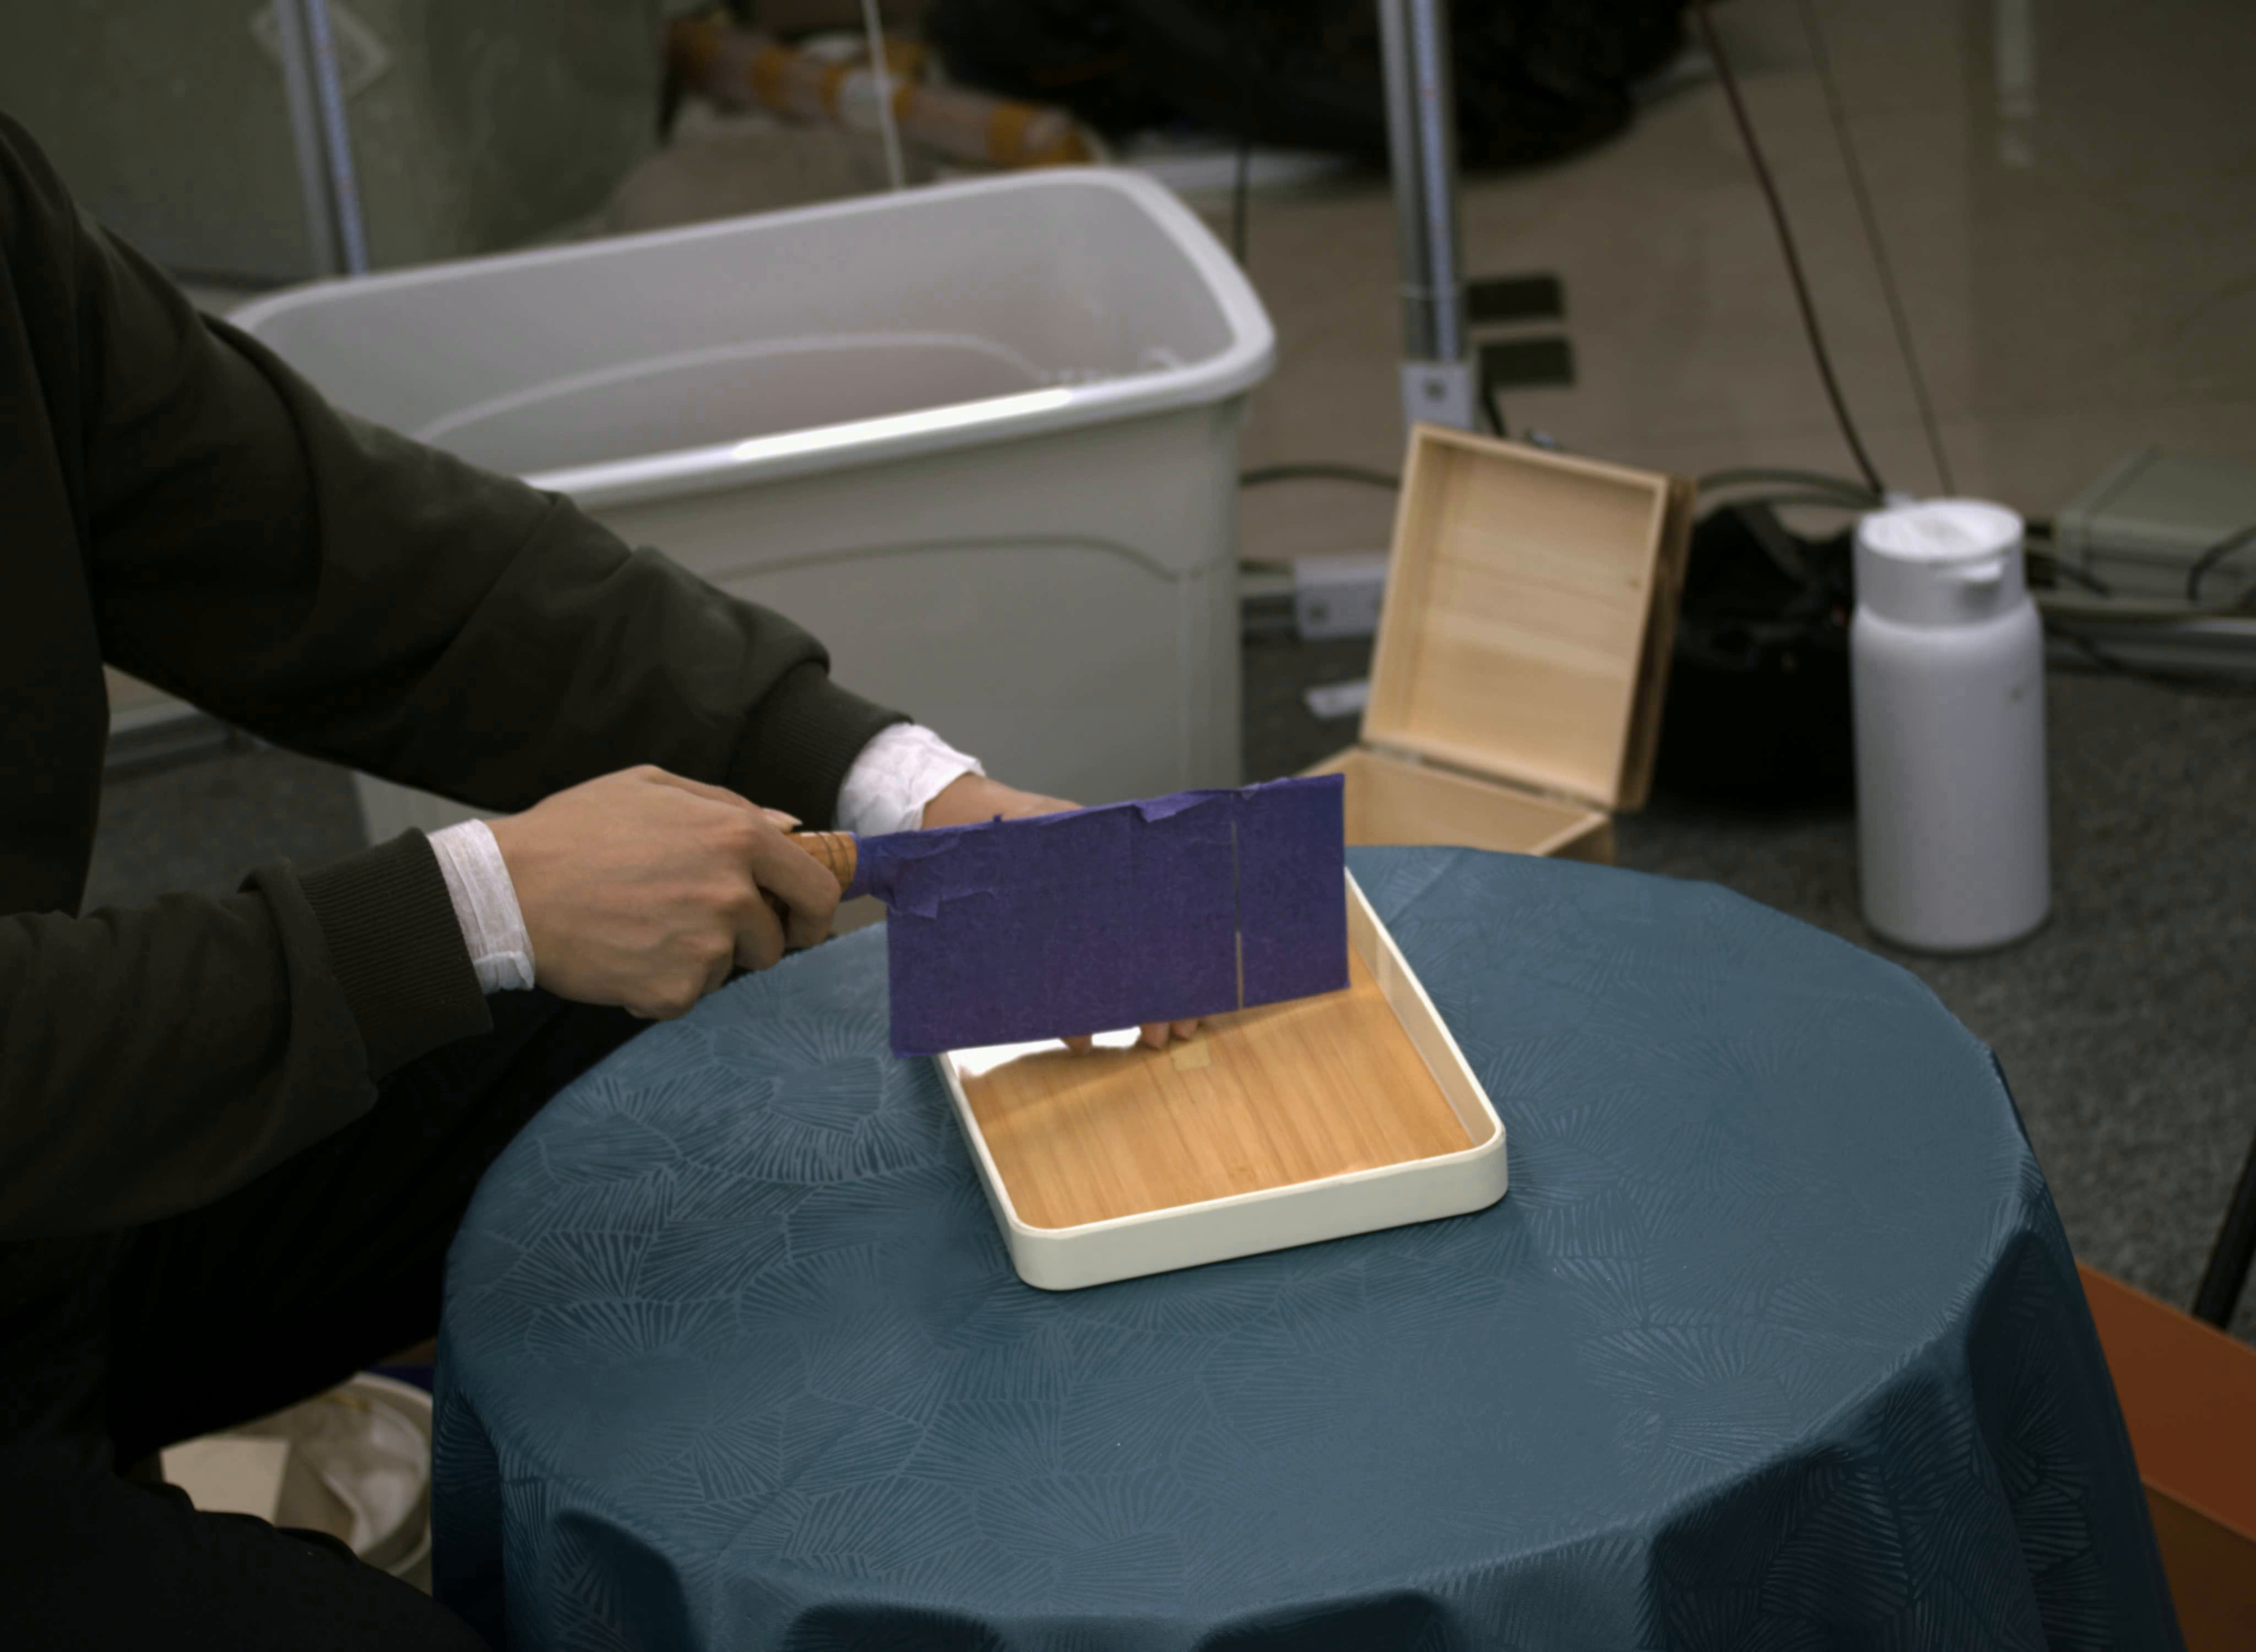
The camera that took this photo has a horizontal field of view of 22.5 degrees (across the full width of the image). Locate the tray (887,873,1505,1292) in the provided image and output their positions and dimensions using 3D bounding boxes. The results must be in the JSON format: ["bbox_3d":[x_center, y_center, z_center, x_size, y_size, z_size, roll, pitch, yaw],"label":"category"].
[{"bbox_3d":[0.021,0.089,2.222,0.191,0.028,0.296,-11,25,-8],"label":"tray"}]

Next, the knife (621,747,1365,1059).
[{"bbox_3d":[-0.044,0.040,2.184,0.314,0.105,0.032,-9,15,-26],"label":"knife"}]
